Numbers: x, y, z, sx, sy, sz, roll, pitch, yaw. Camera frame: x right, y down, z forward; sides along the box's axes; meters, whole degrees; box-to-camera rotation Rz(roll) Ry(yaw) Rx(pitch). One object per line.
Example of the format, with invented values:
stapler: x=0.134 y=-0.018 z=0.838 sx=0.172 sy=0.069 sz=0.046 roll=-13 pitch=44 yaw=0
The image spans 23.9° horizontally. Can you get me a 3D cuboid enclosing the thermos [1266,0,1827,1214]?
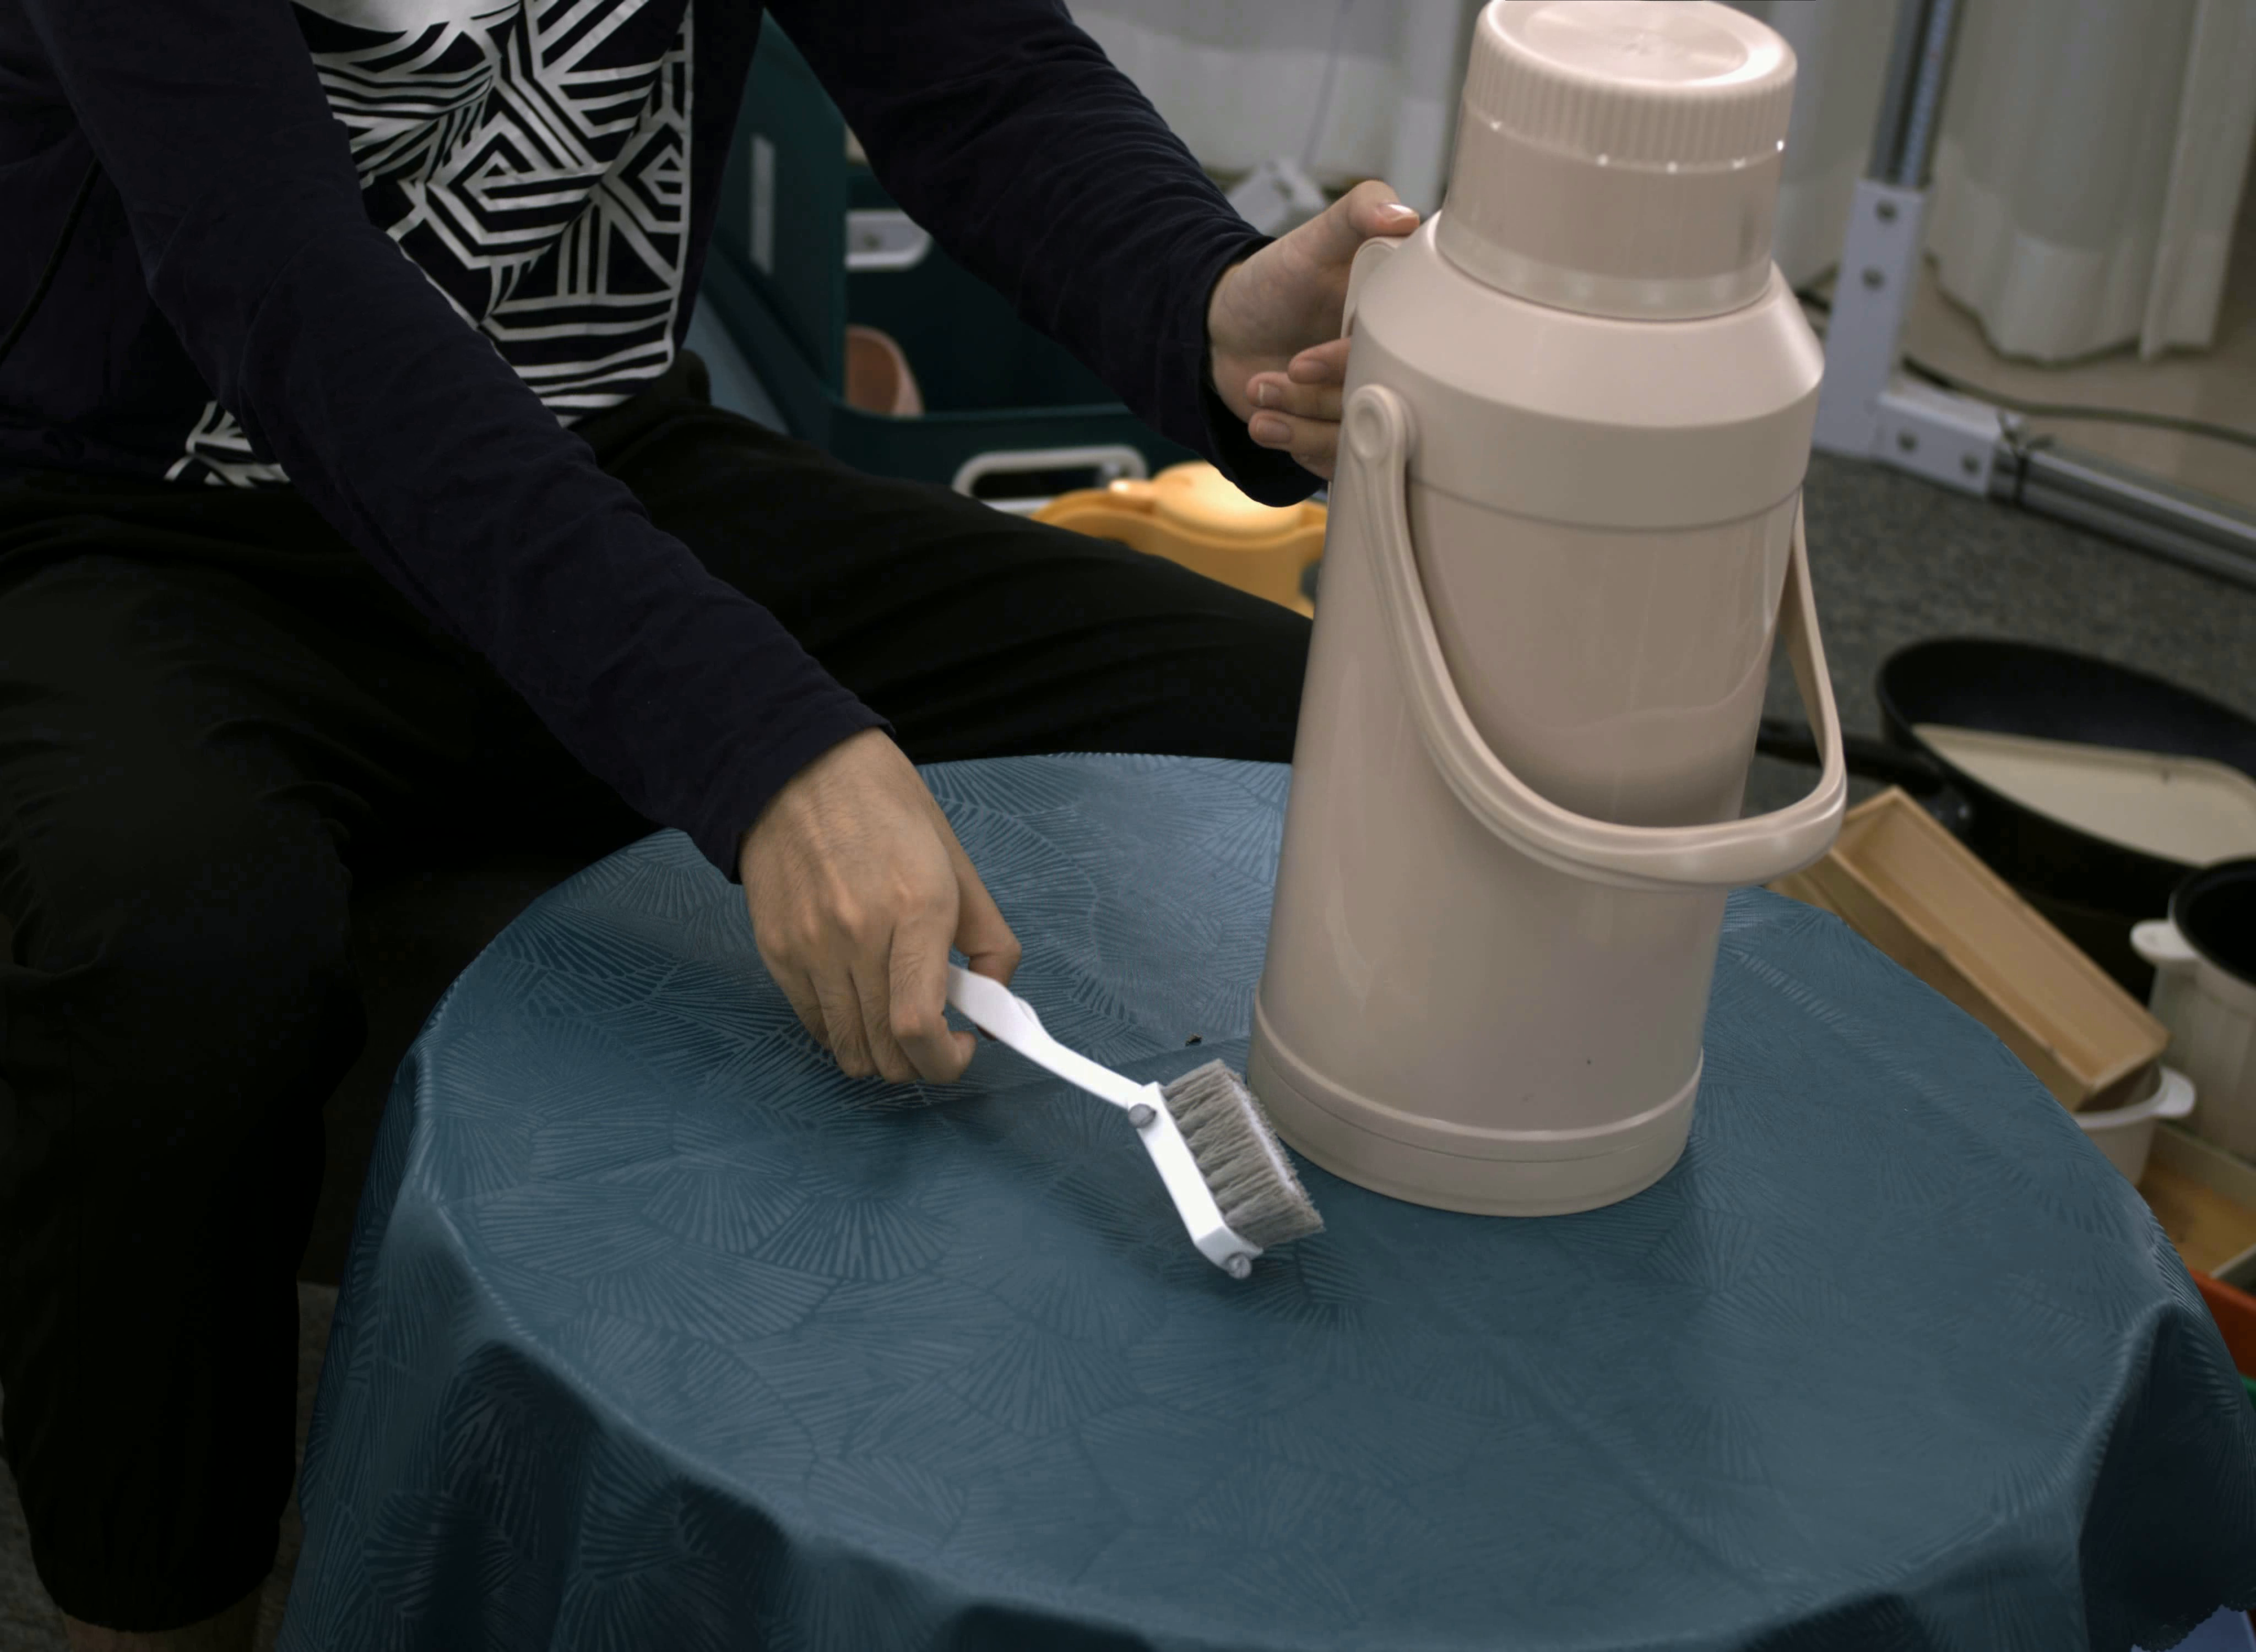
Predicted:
thermos: x=0.137 y=-0.085 z=1.809 sx=0.174 sy=0.405 sz=0.209 roll=-14 pitch=33 yaw=-31

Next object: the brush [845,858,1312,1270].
brush: x=-0.018 y=0.066 z=1.818 sx=0.034 sy=0.050 sz=0.246 roll=22 pitch=18 yaw=-48
